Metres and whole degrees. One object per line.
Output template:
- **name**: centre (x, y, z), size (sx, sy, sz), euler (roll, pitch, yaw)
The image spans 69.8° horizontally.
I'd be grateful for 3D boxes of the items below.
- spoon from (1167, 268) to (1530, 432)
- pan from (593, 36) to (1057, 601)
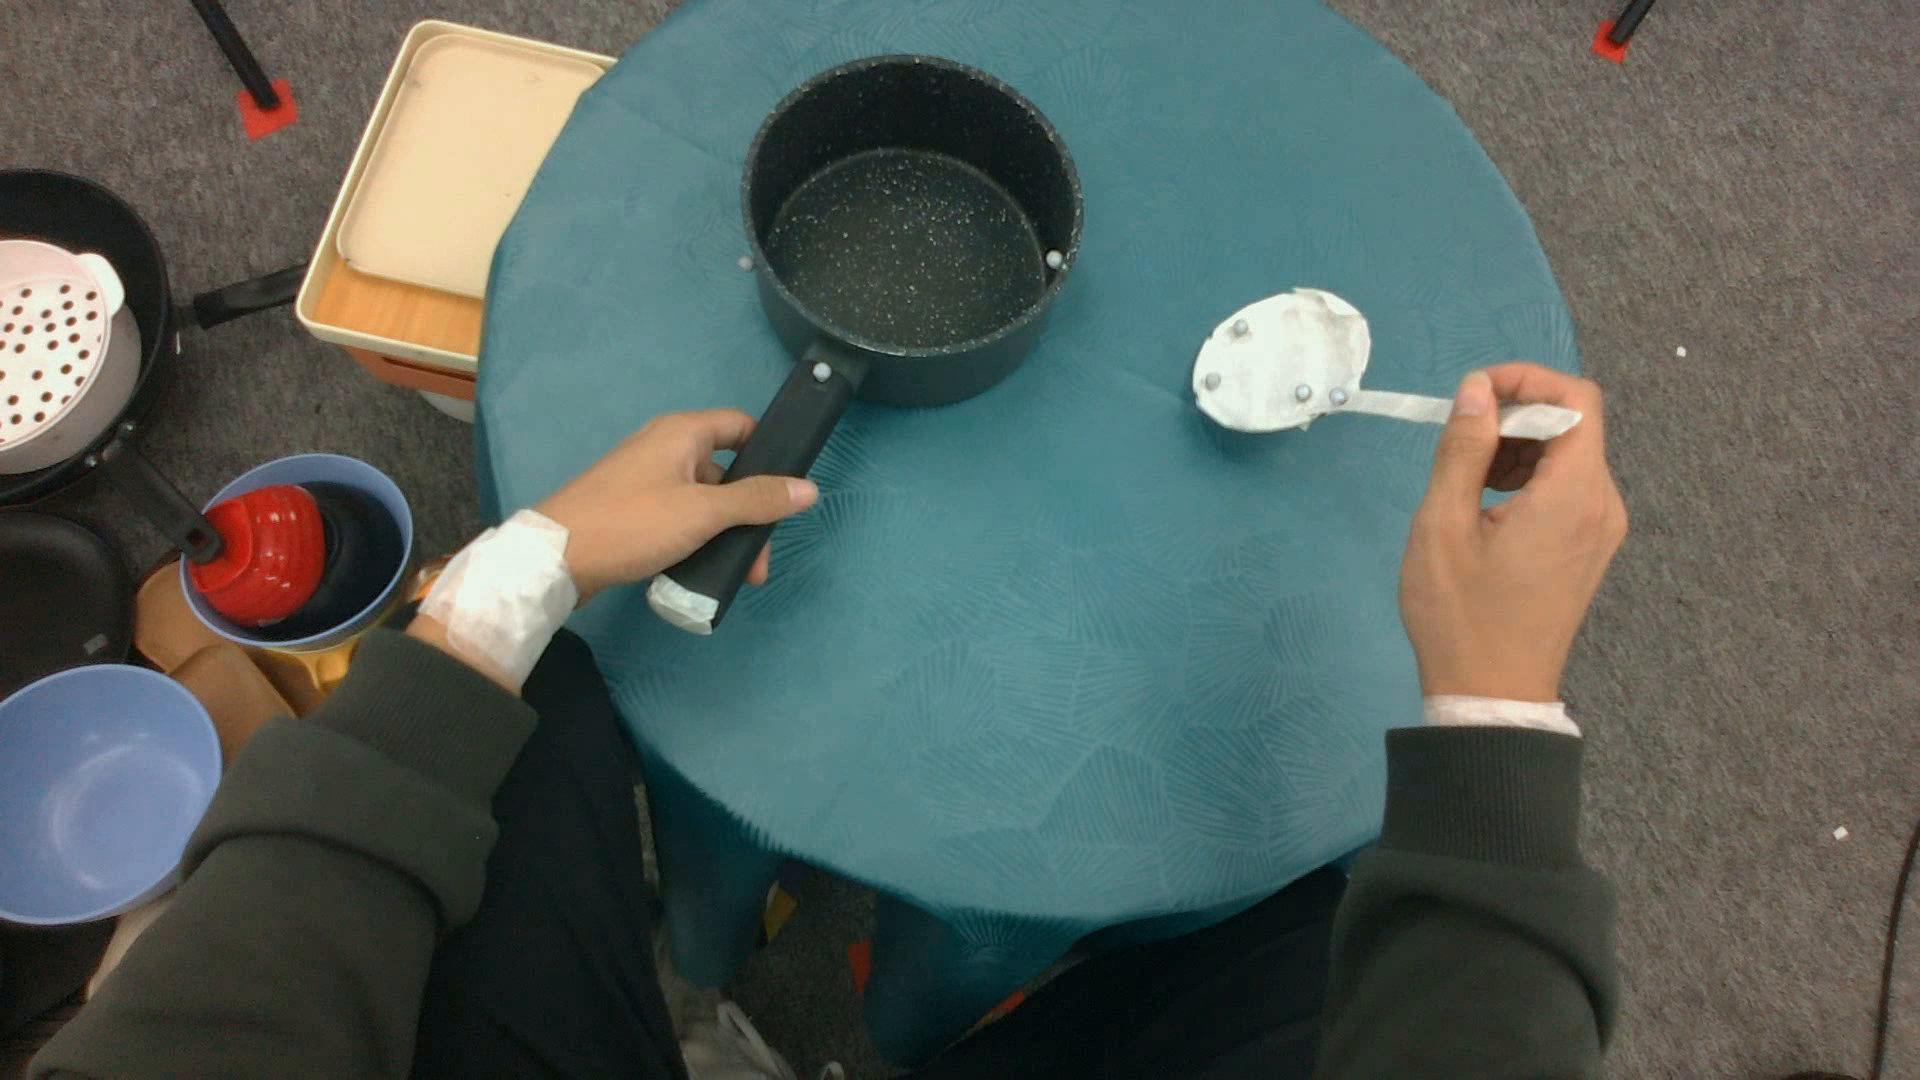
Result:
- **spoon**: centre (0.163, -0.084, 0.628), size (0.059, 0.277, 0.100), euler (42, 92, -12)
- **pan**: centre (-0.075, -0.103, 0.688), size (0.172, 0.086, 0.330), euler (27, 69, 4)
